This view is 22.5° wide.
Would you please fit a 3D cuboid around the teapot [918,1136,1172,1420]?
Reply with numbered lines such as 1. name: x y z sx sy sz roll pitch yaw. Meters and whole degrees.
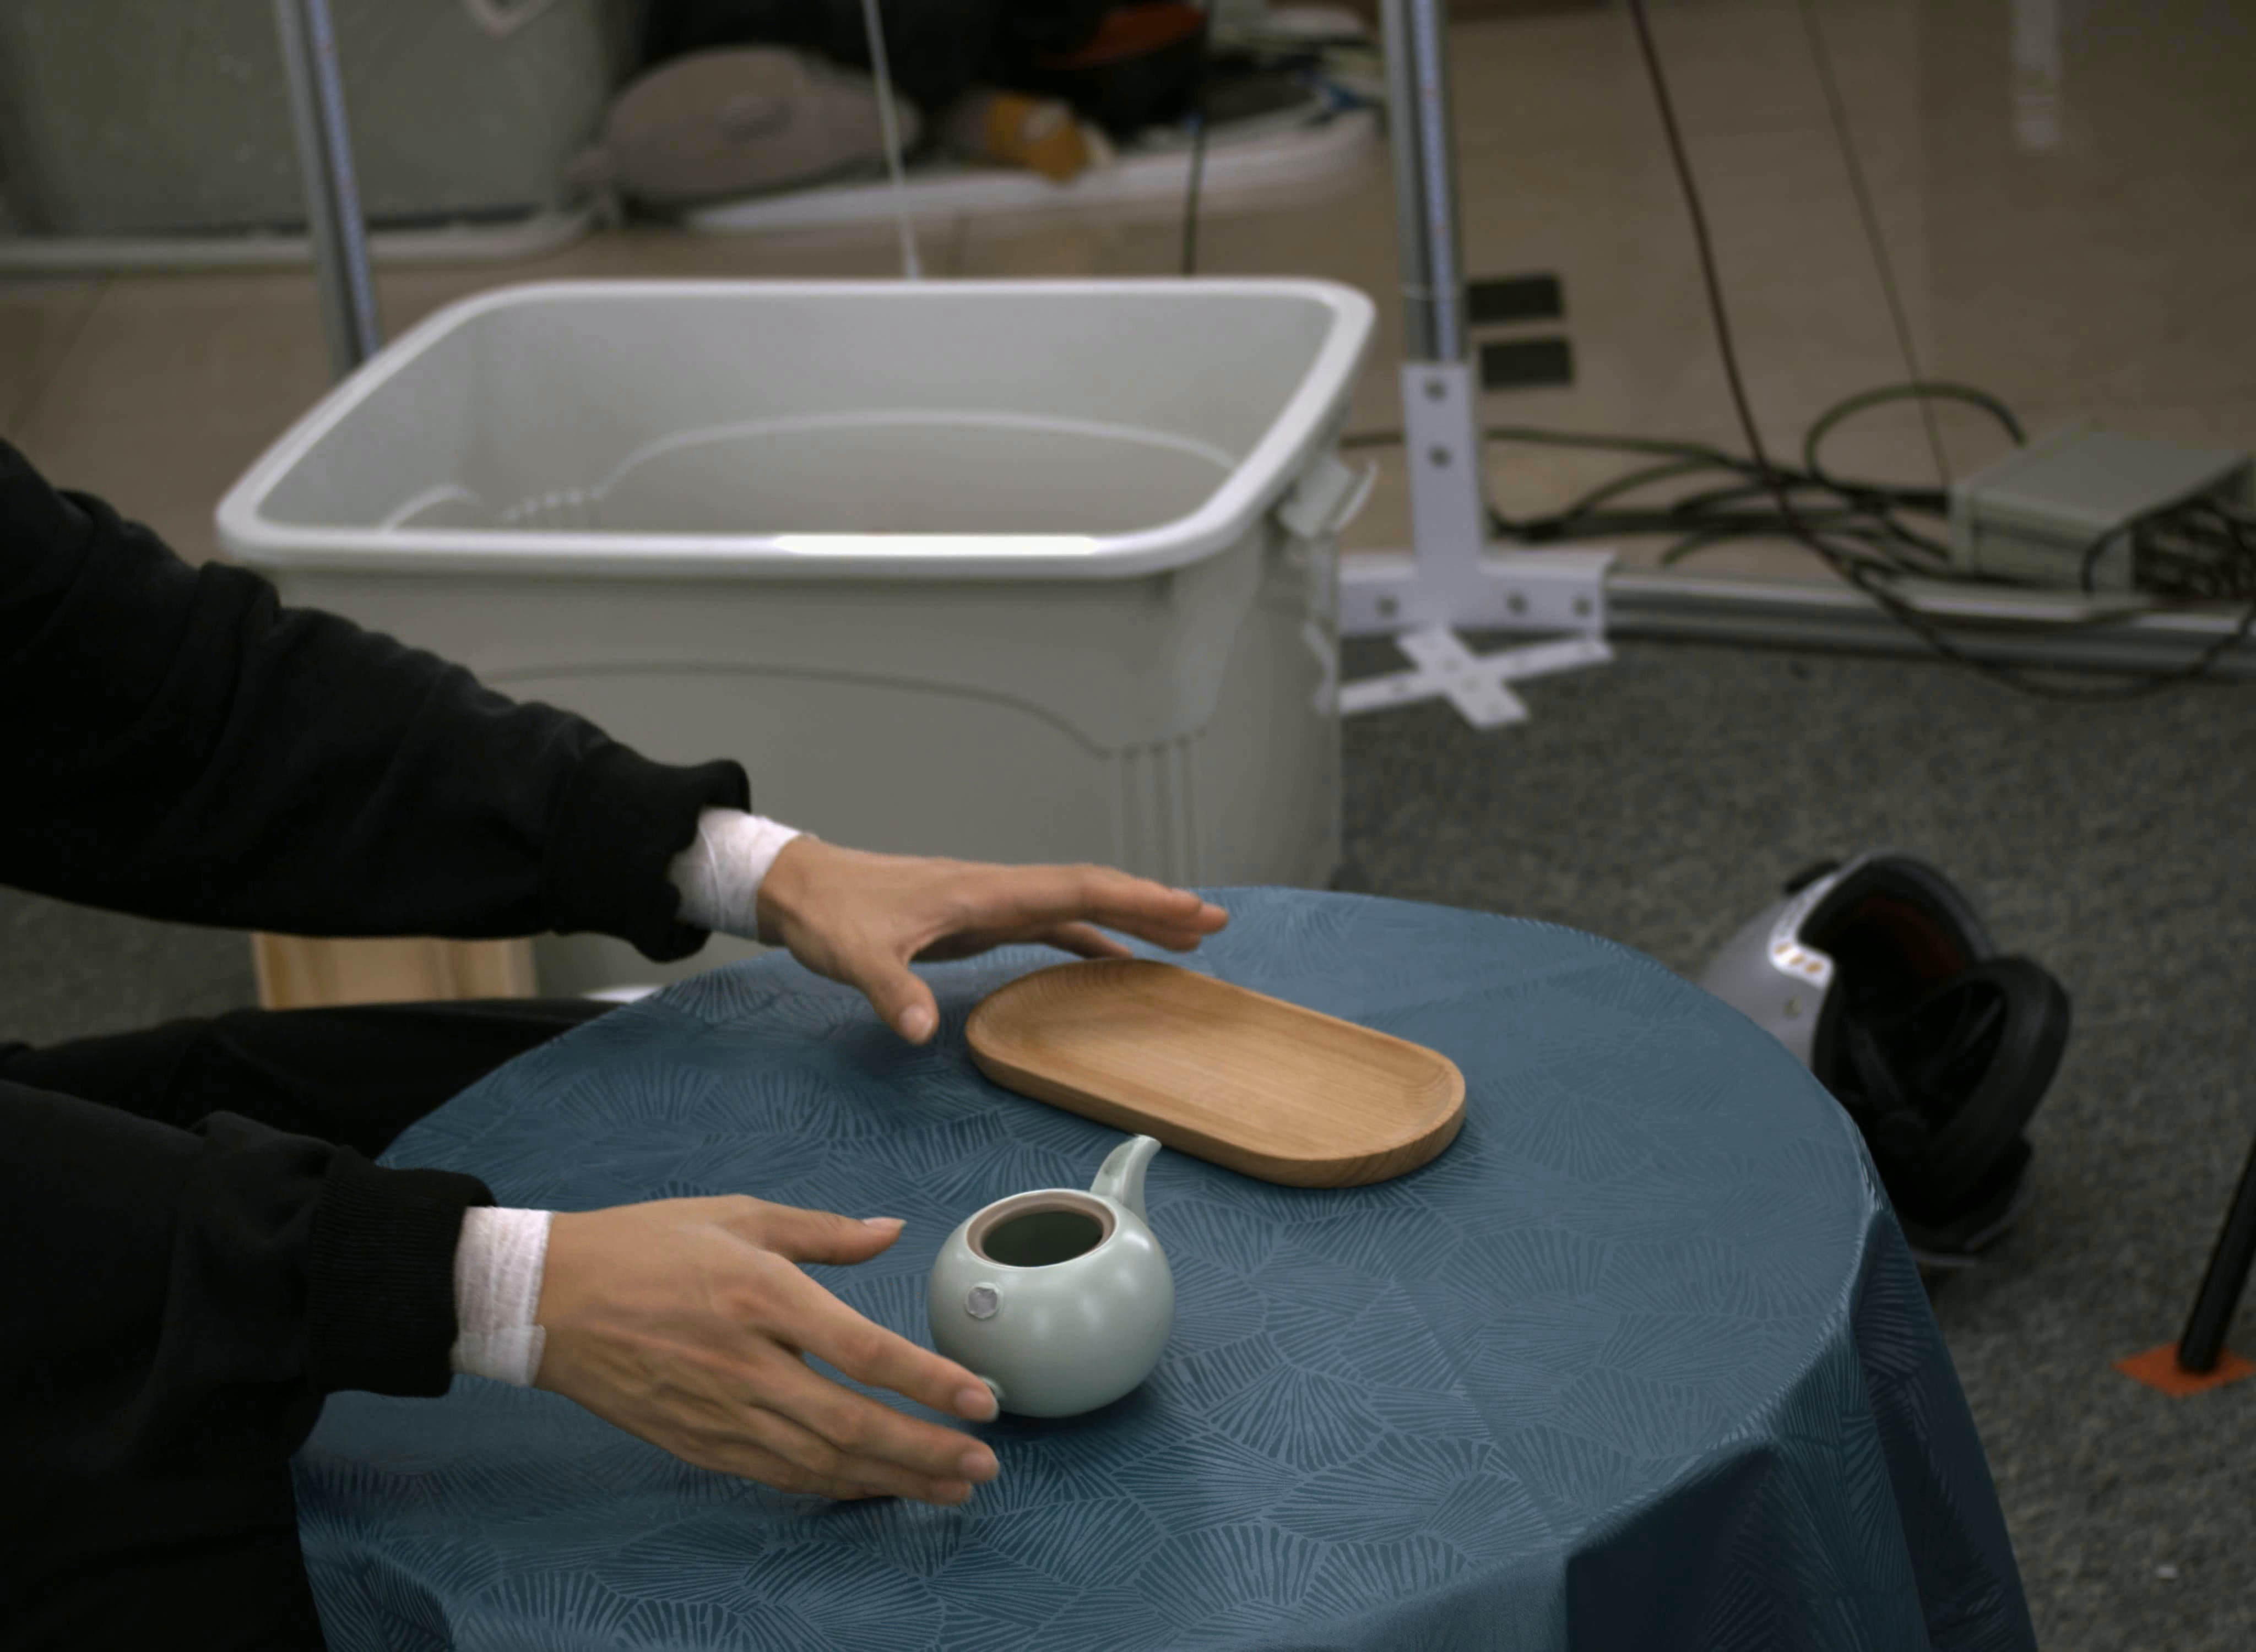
1. teapot: -0.029 0.168 2.007 0.088 0.076 0.142 12 29 34

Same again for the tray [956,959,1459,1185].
1. tray: 0.030 0.096 2.217 0.229 0.020 0.101 15 31 41
